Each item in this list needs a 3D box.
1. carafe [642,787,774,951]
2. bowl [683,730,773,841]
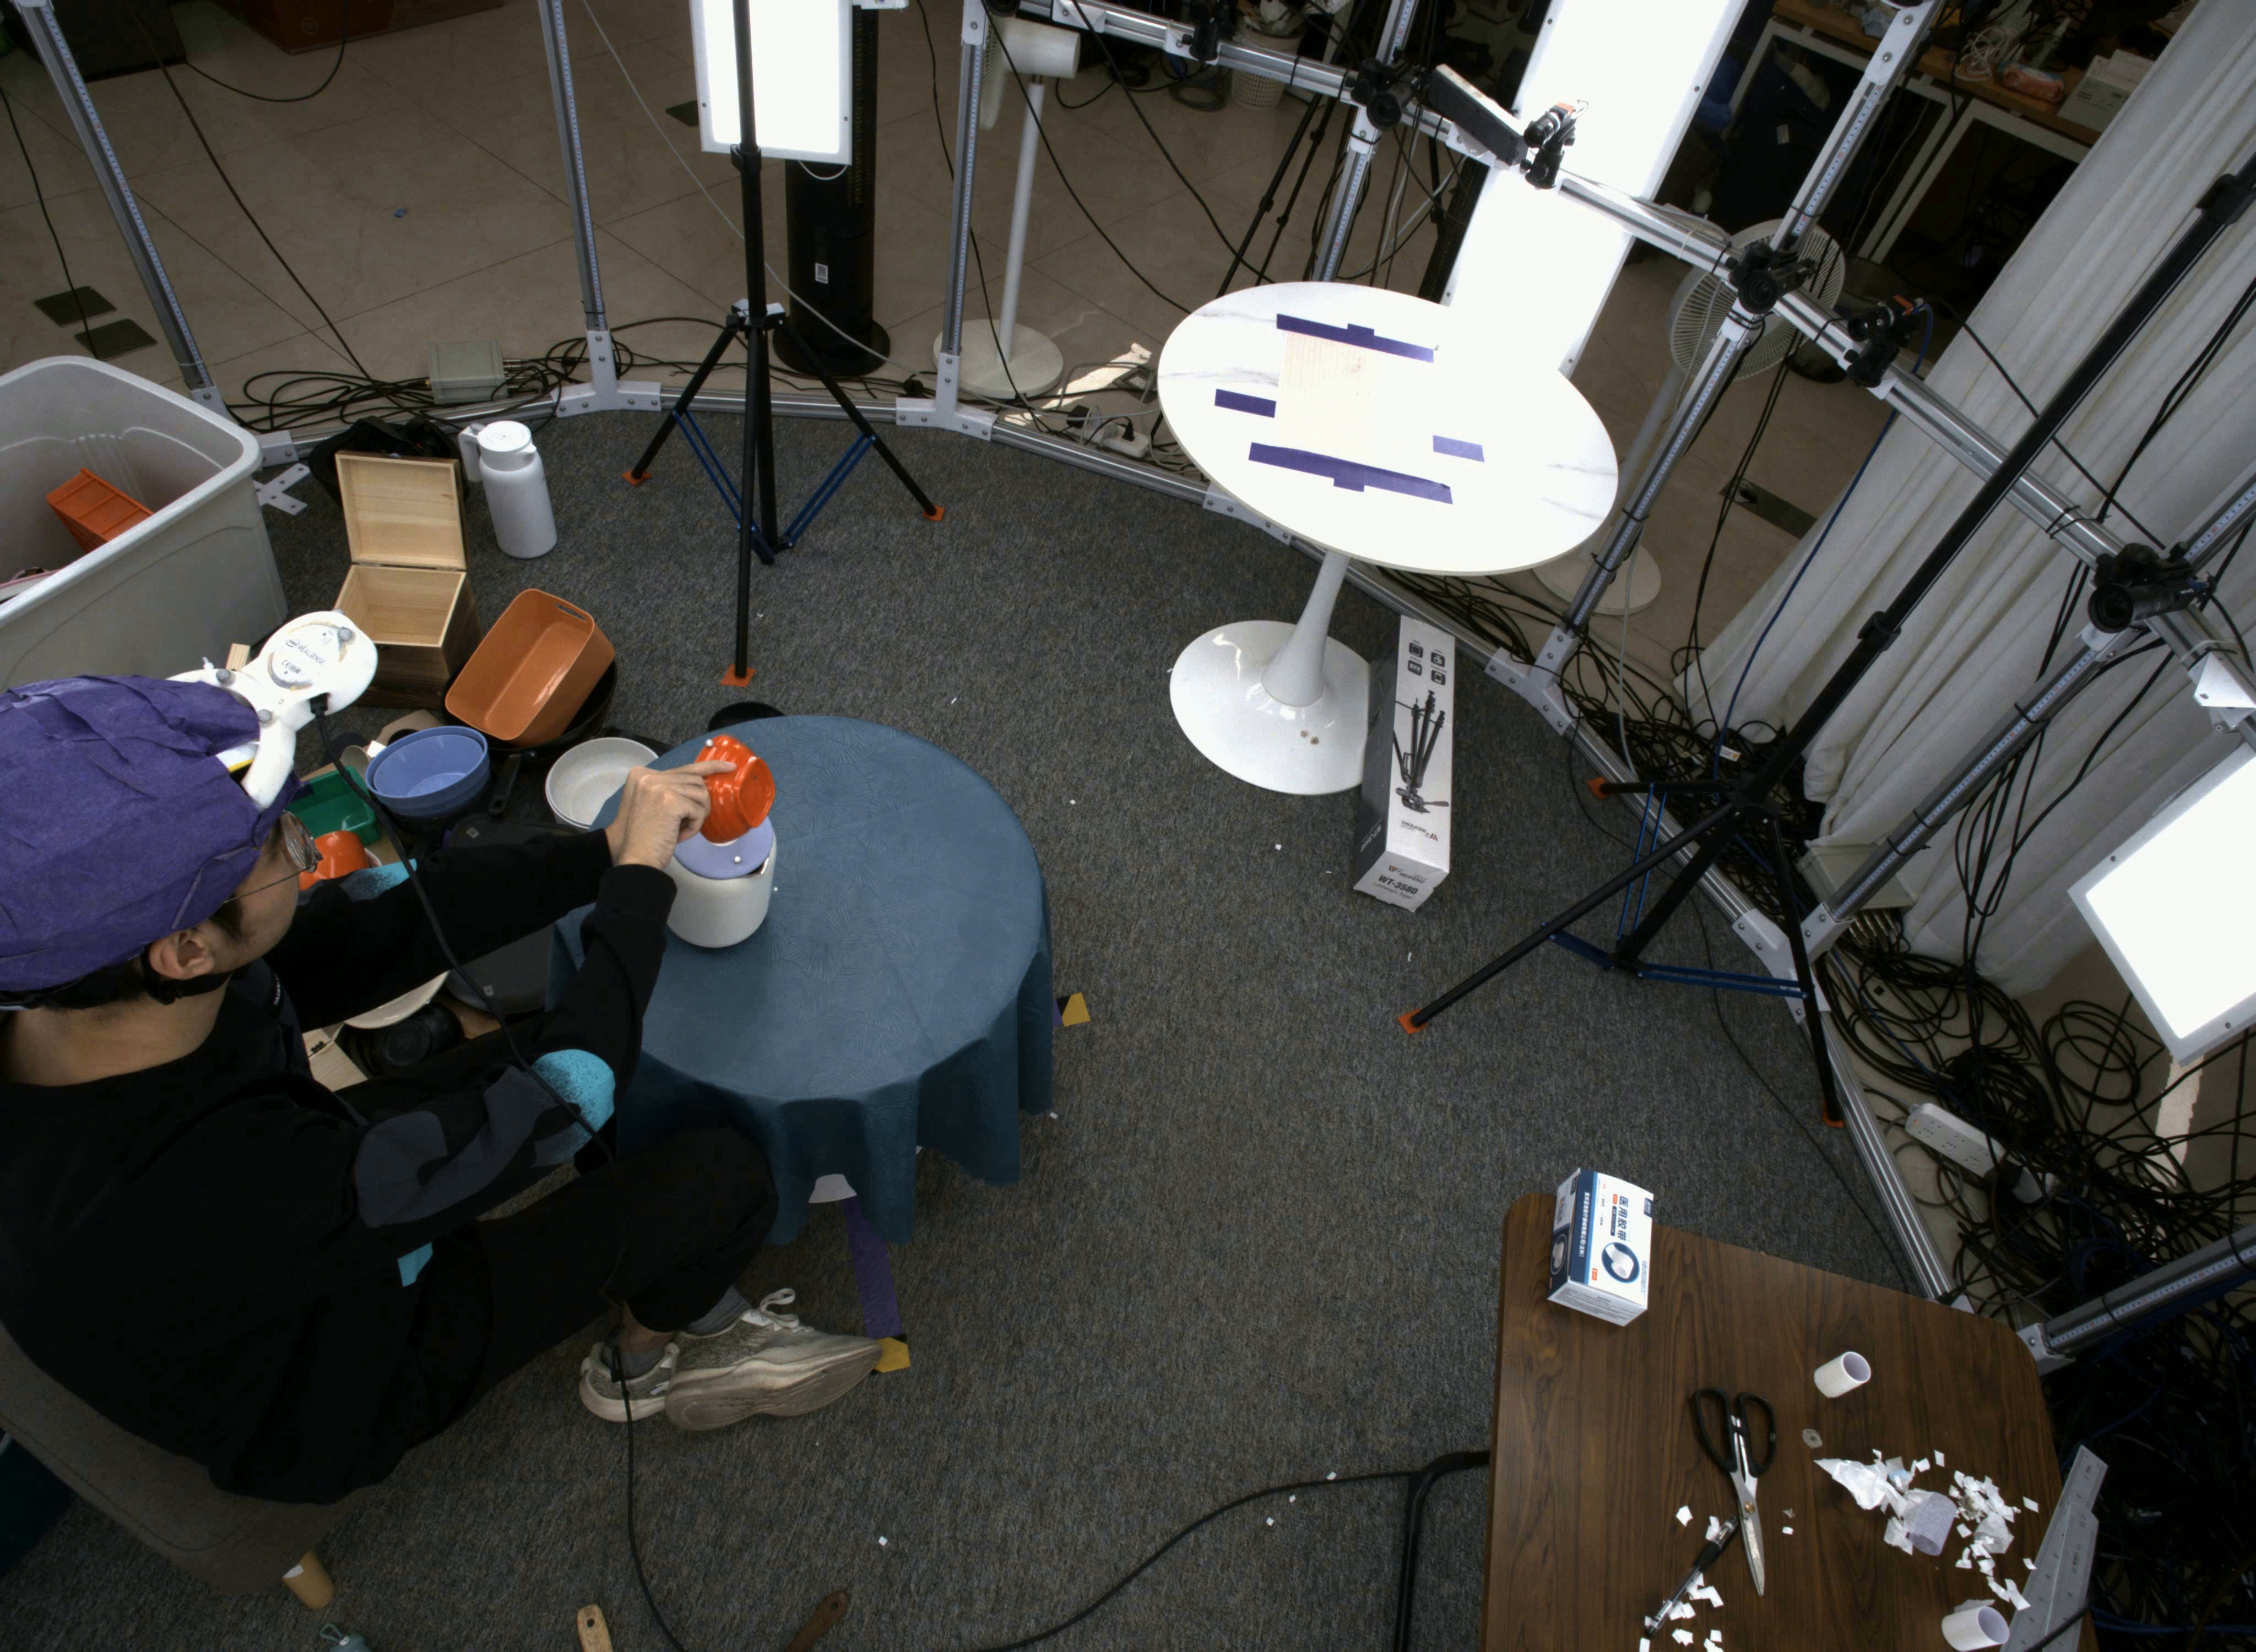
[{"bbox_3d":[-0.511,0.036,1.545,0.189,0.185,0.132,37,52,8],"label":"carafe"},{"bbox_3d":[-0.425,-0.042,1.393,0.050,0.123,0.117,8,50,14],"label":"bowl"}]
